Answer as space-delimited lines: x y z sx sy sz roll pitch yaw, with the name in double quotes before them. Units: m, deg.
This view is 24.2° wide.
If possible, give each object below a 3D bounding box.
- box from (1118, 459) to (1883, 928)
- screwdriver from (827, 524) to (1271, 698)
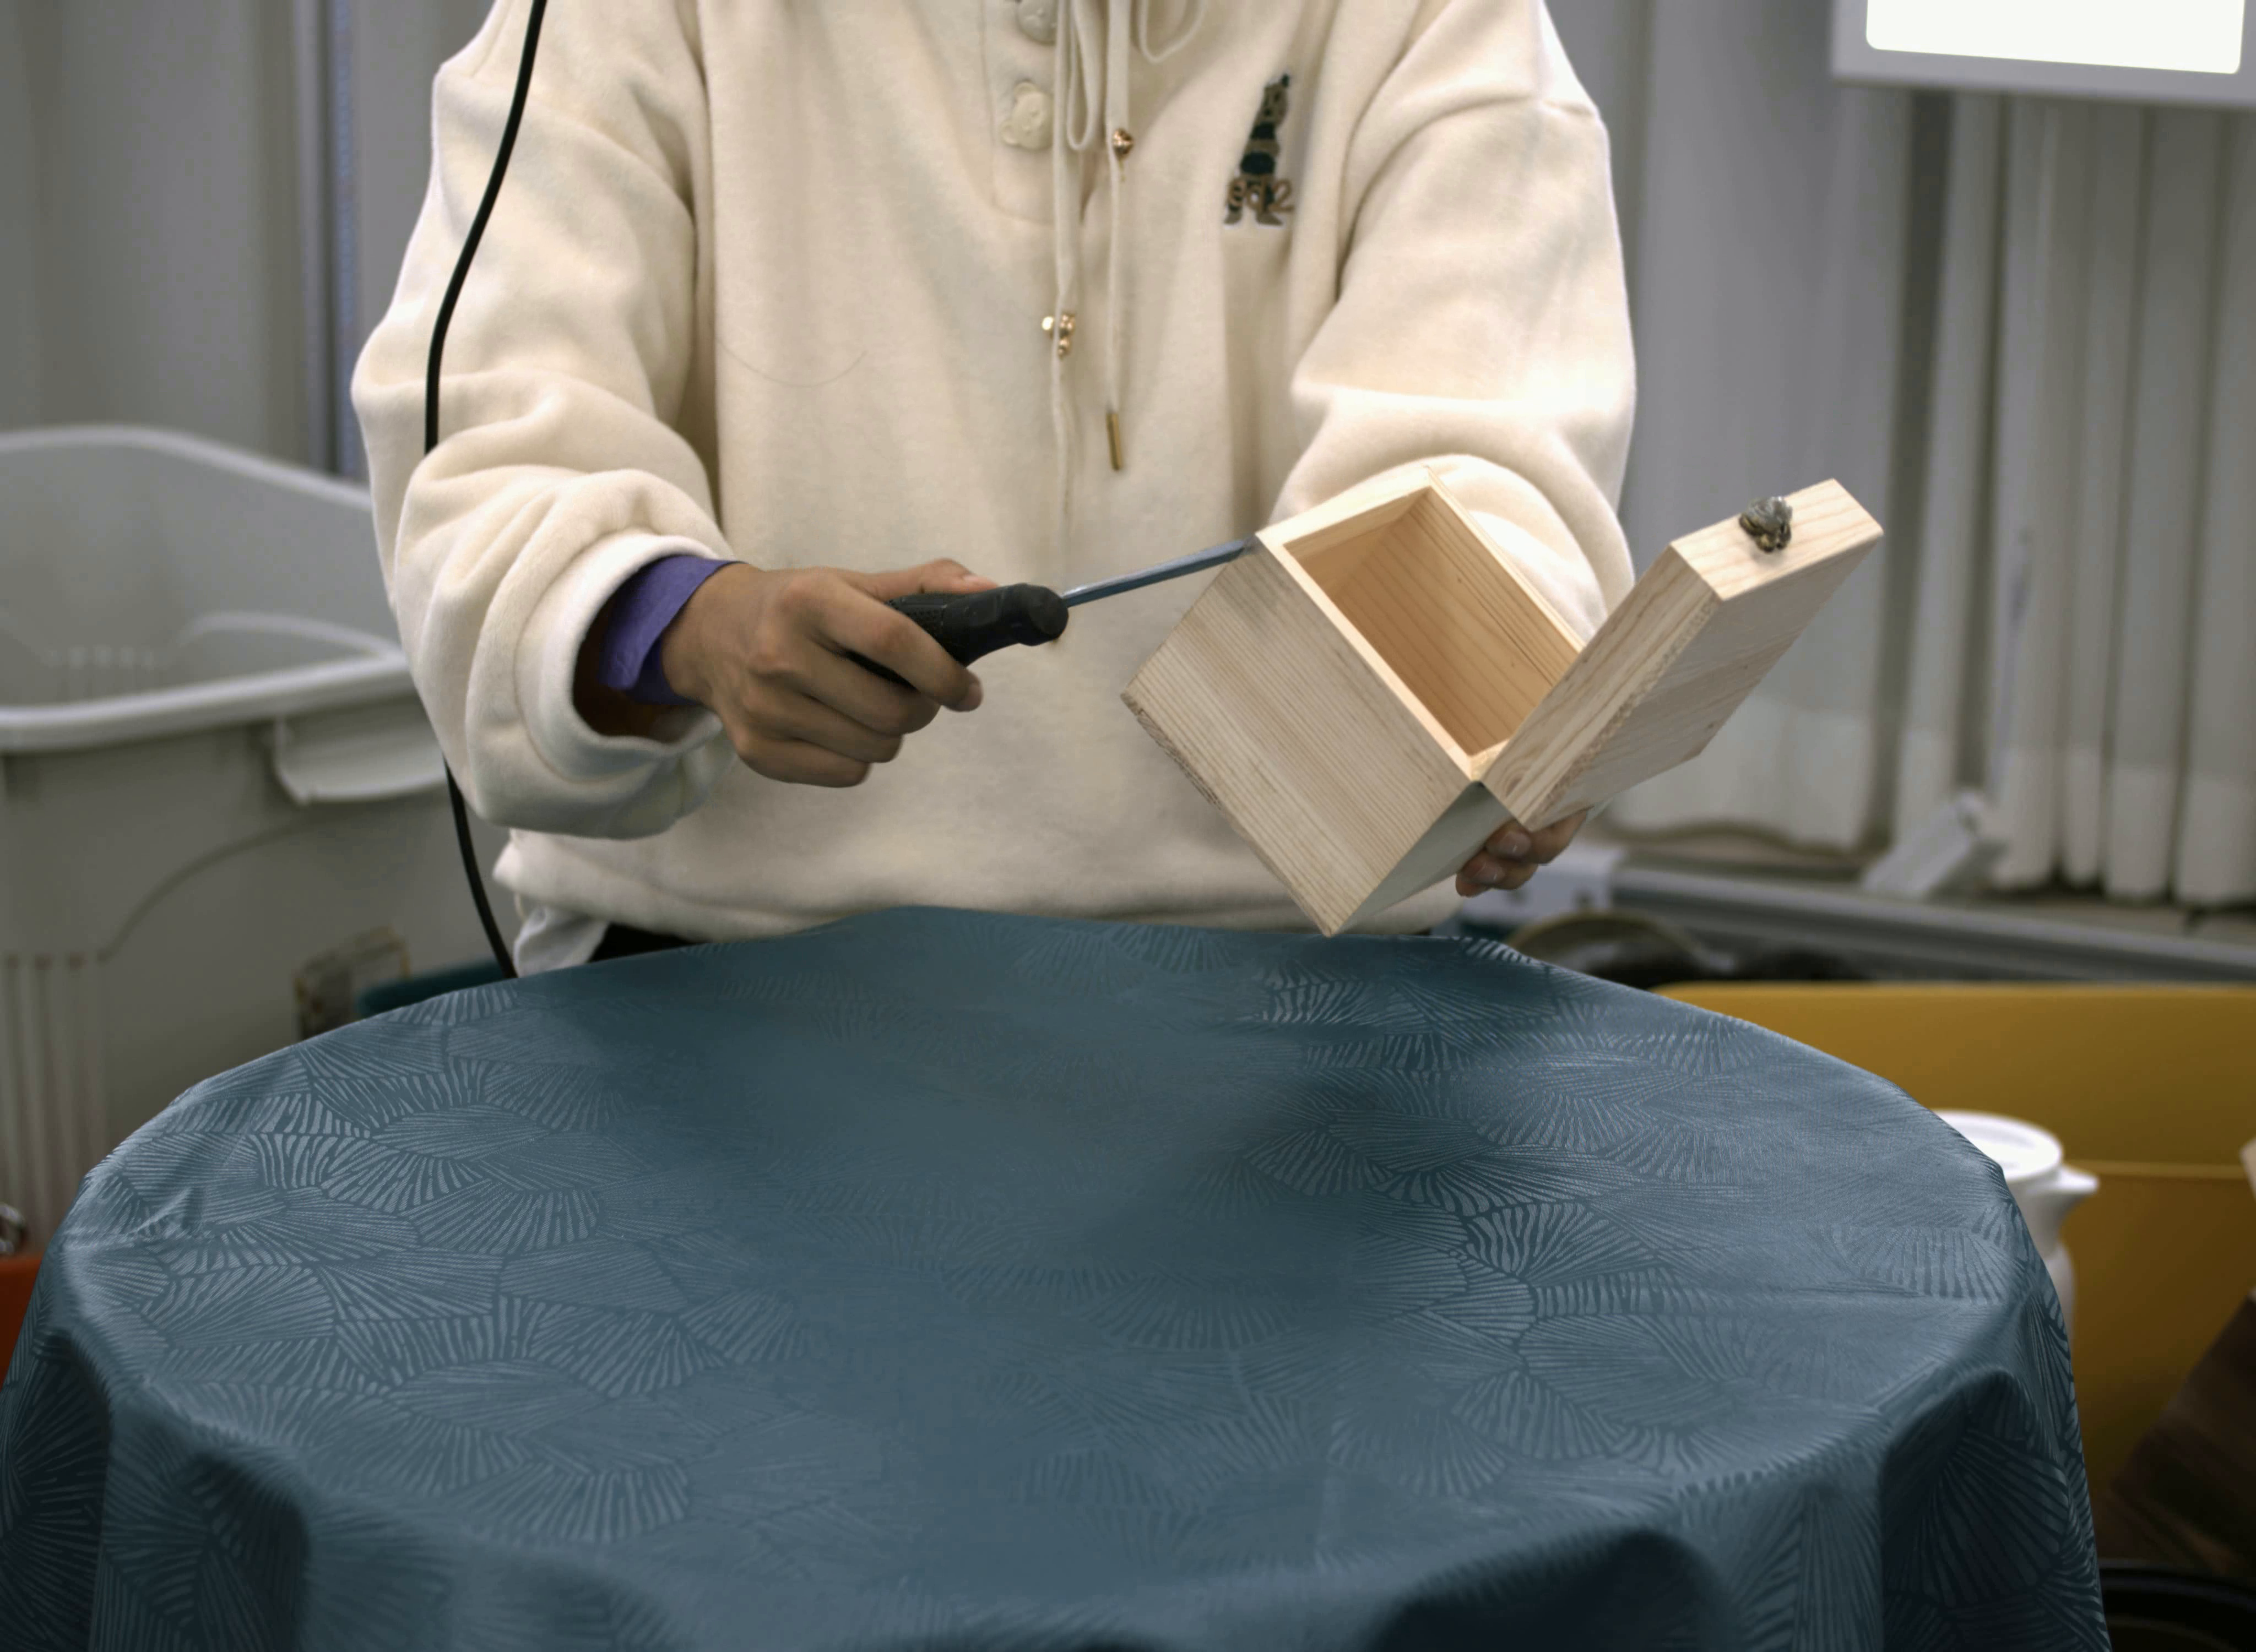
"box" 0.110 -0.067 1.581 0.133 0.184 0.103 51 37 12
"screwdriver" -0.026 -0.067 1.660 0.196 0.031 0.031 -11 3 45
